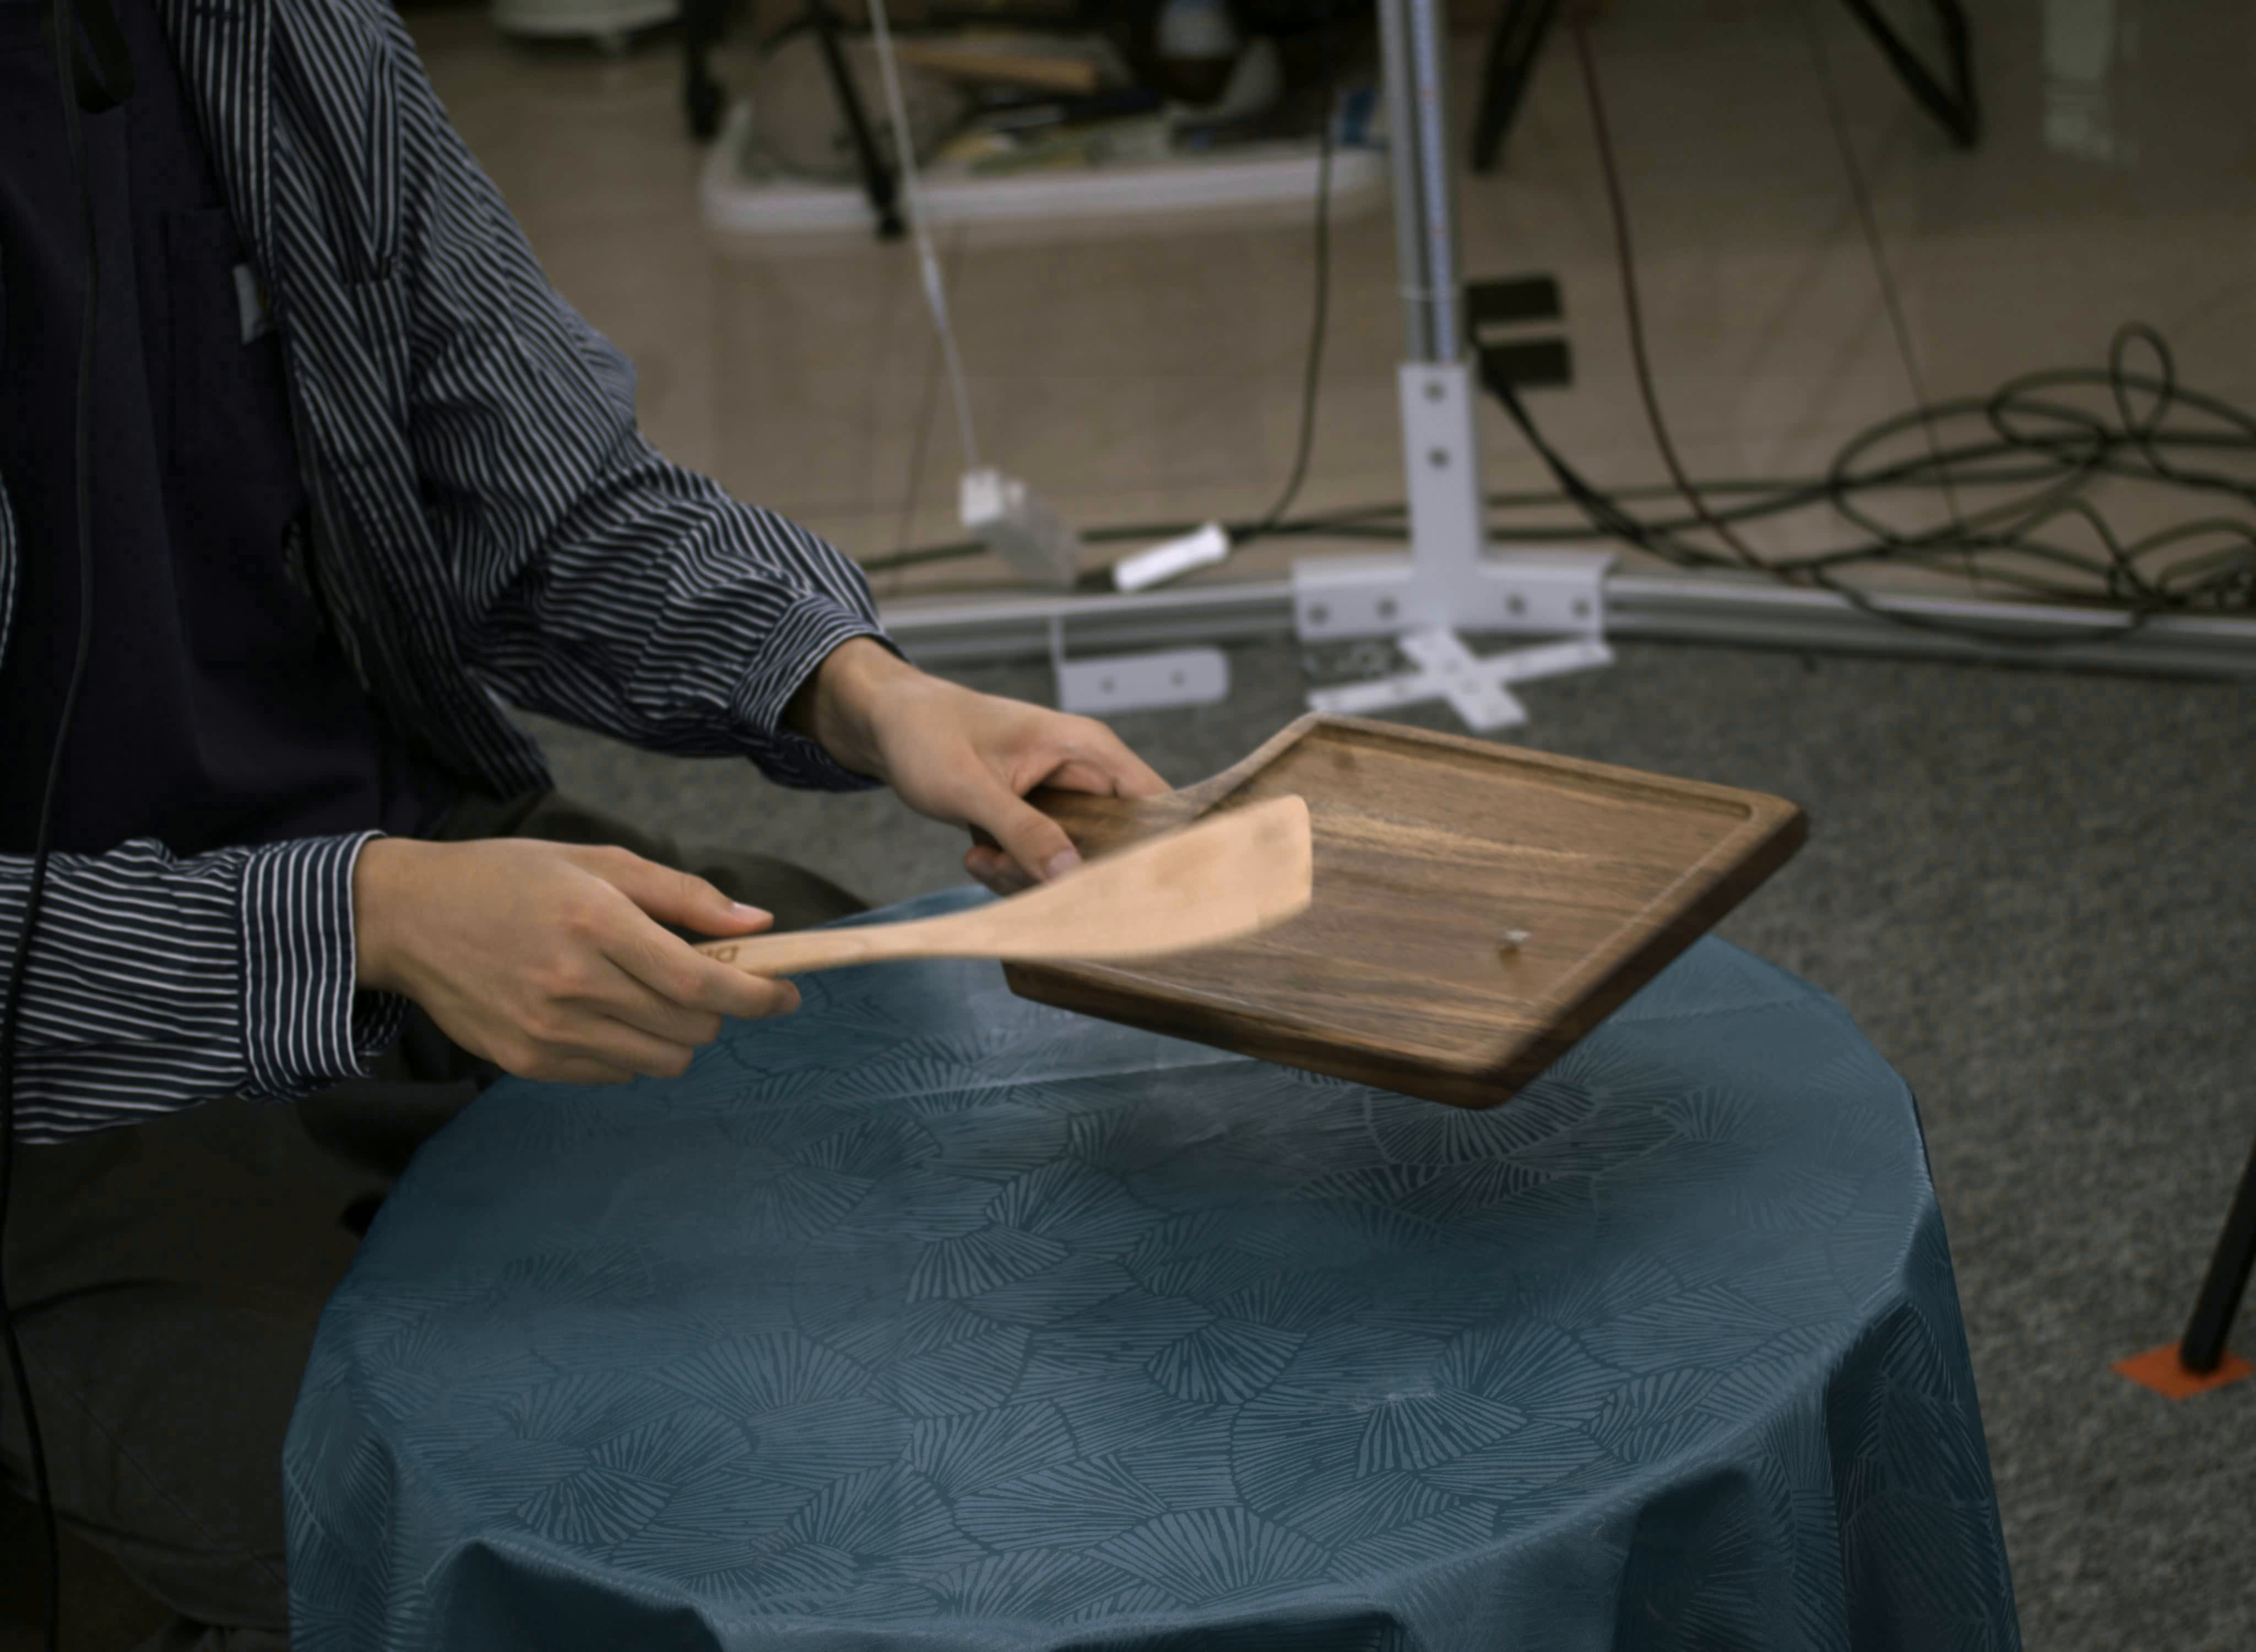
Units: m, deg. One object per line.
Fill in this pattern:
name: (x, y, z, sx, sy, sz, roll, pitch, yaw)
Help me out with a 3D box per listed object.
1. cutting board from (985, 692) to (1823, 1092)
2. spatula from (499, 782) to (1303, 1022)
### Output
cutting board: (0.075, 0.012, 2.180, 0.350, 0.023, 0.199, 13, 40, 44)
spatula: (-0.085, 0.035, 2.093, 0.327, 0.017, 0.078, -10, 35, 18)
